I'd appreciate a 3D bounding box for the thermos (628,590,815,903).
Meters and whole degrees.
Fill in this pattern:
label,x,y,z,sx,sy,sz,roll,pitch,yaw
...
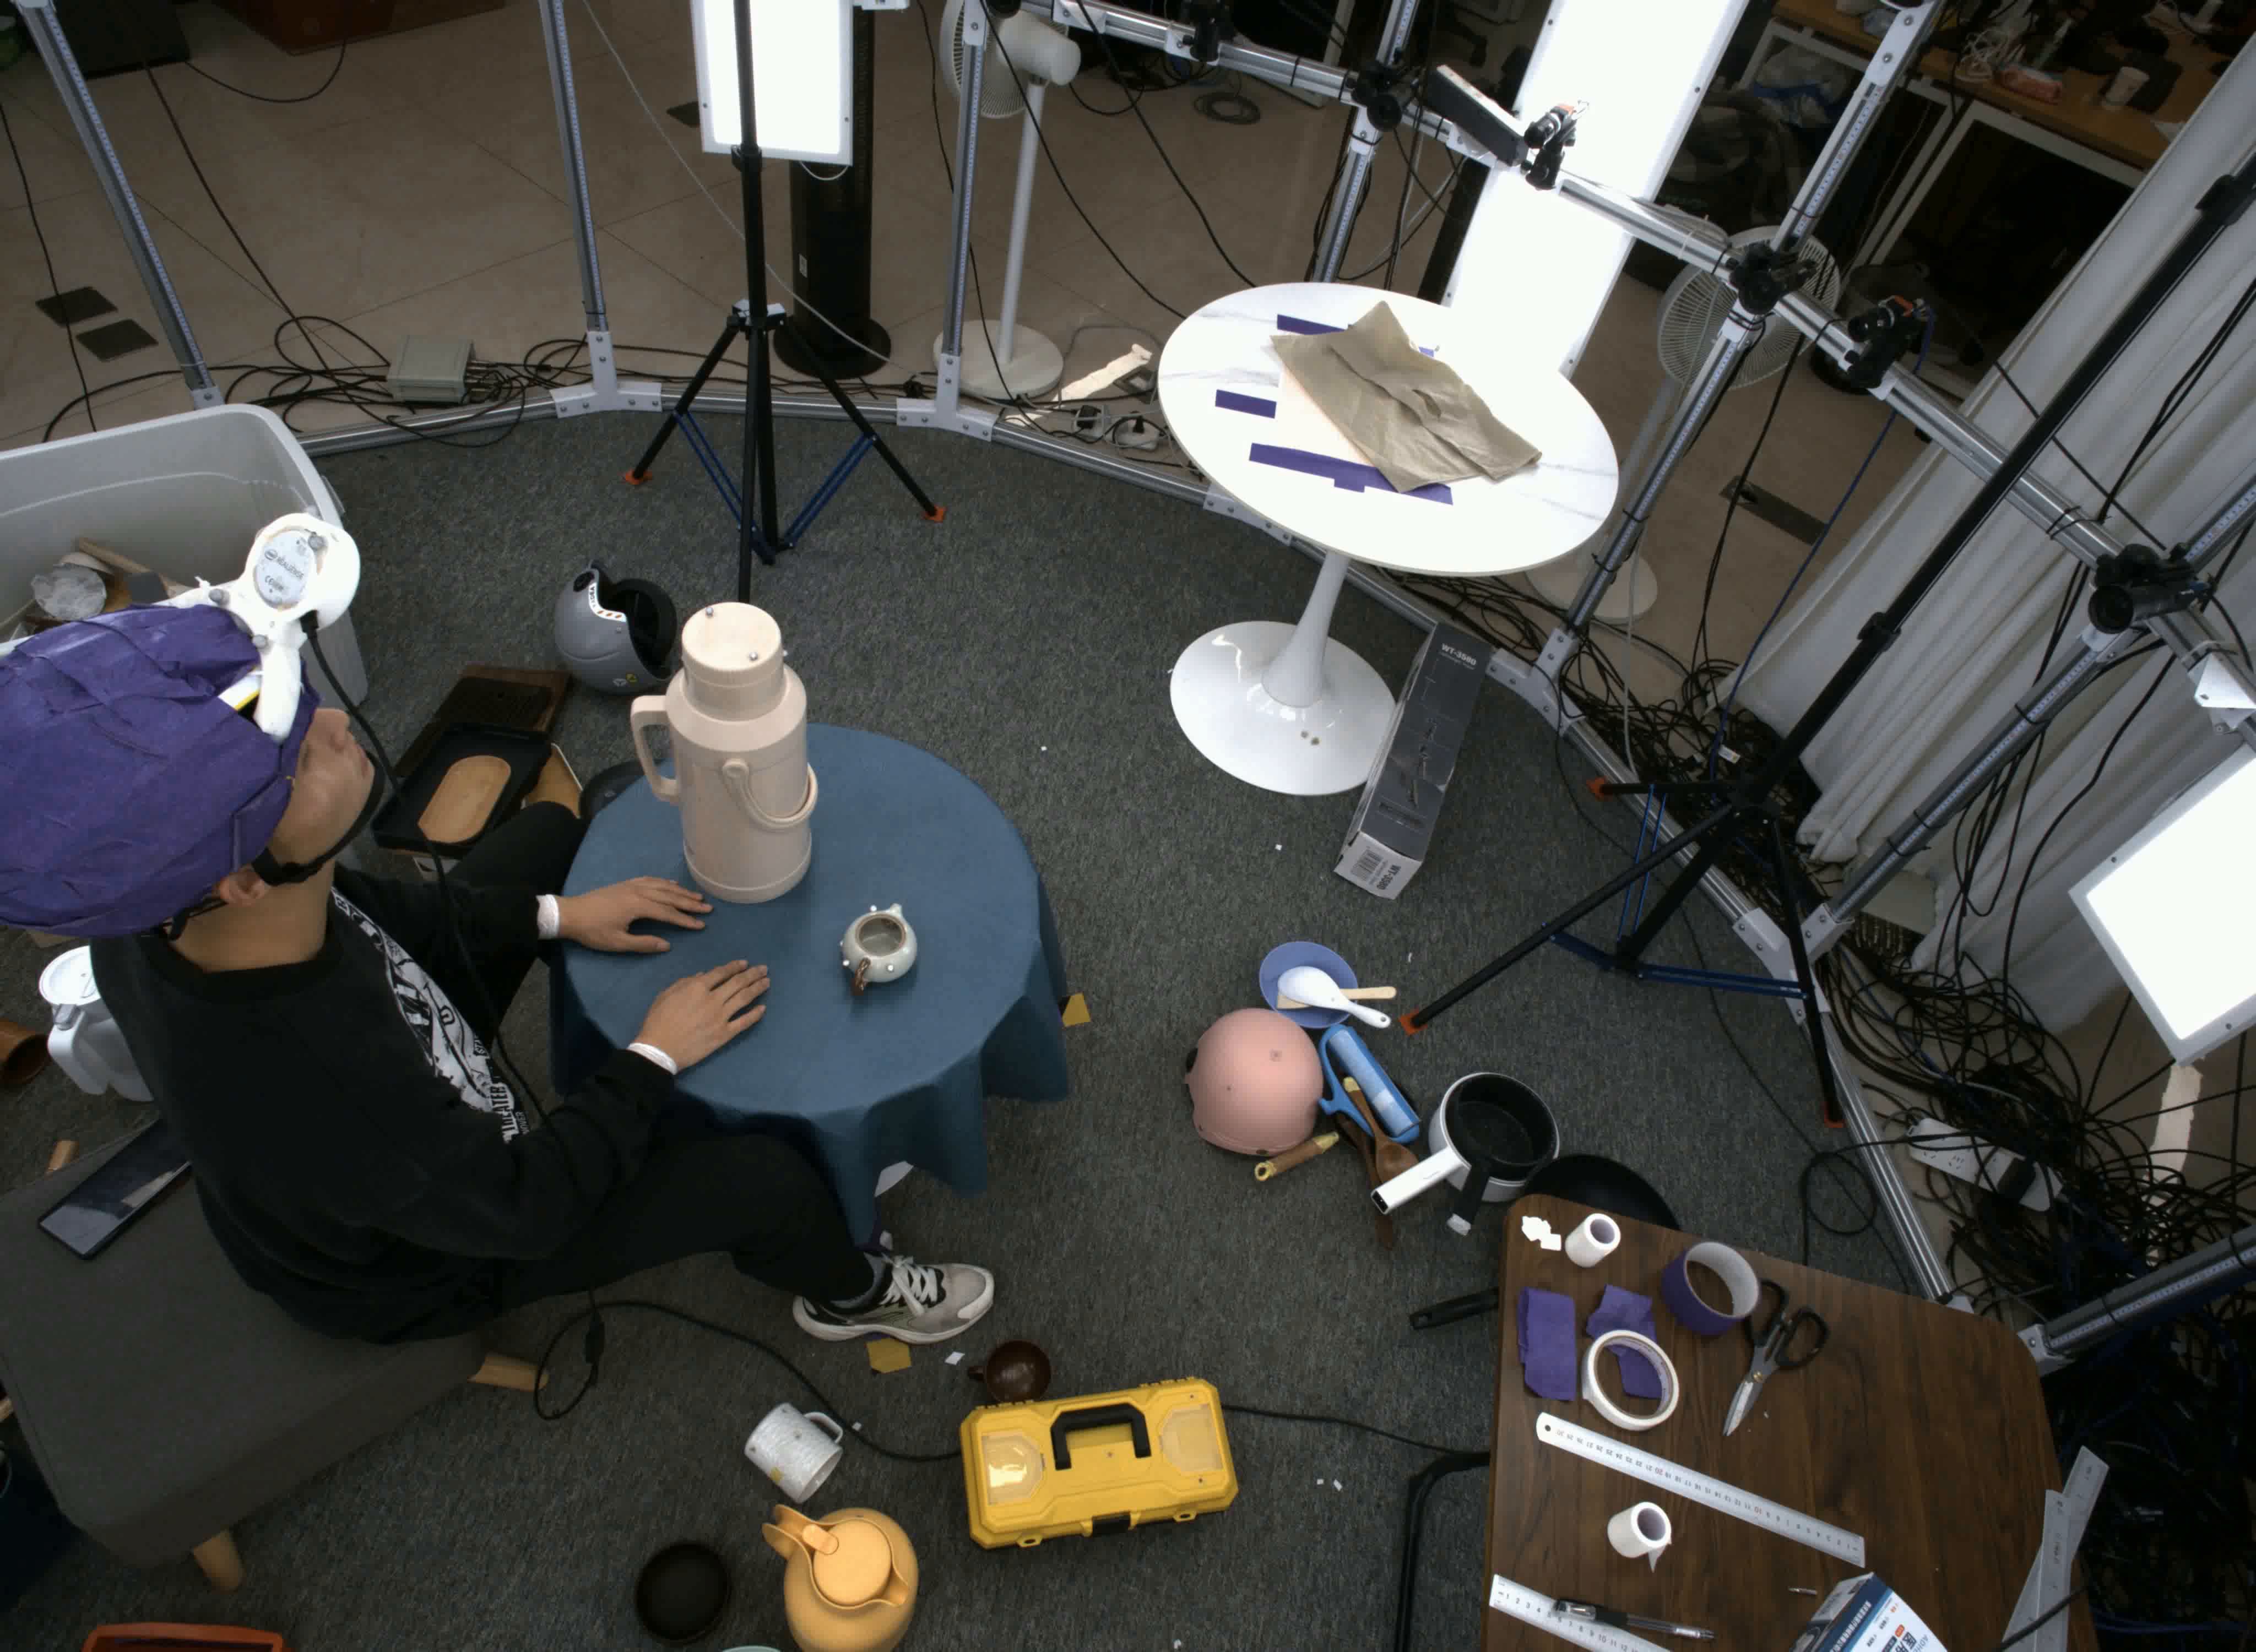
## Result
label,x,y,z,sx,sy,sz,roll,pitch,yaw
thermos,-0.476,-0.090,1.519,0.207,0.414,0.171,-3,54,-15

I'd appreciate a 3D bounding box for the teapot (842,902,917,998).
label,x,y,z,sx,sy,sz,roll,pitch,yaw
teapot,-0.309,0.154,1.598,0.091,0.060,0.126,21,50,-1
